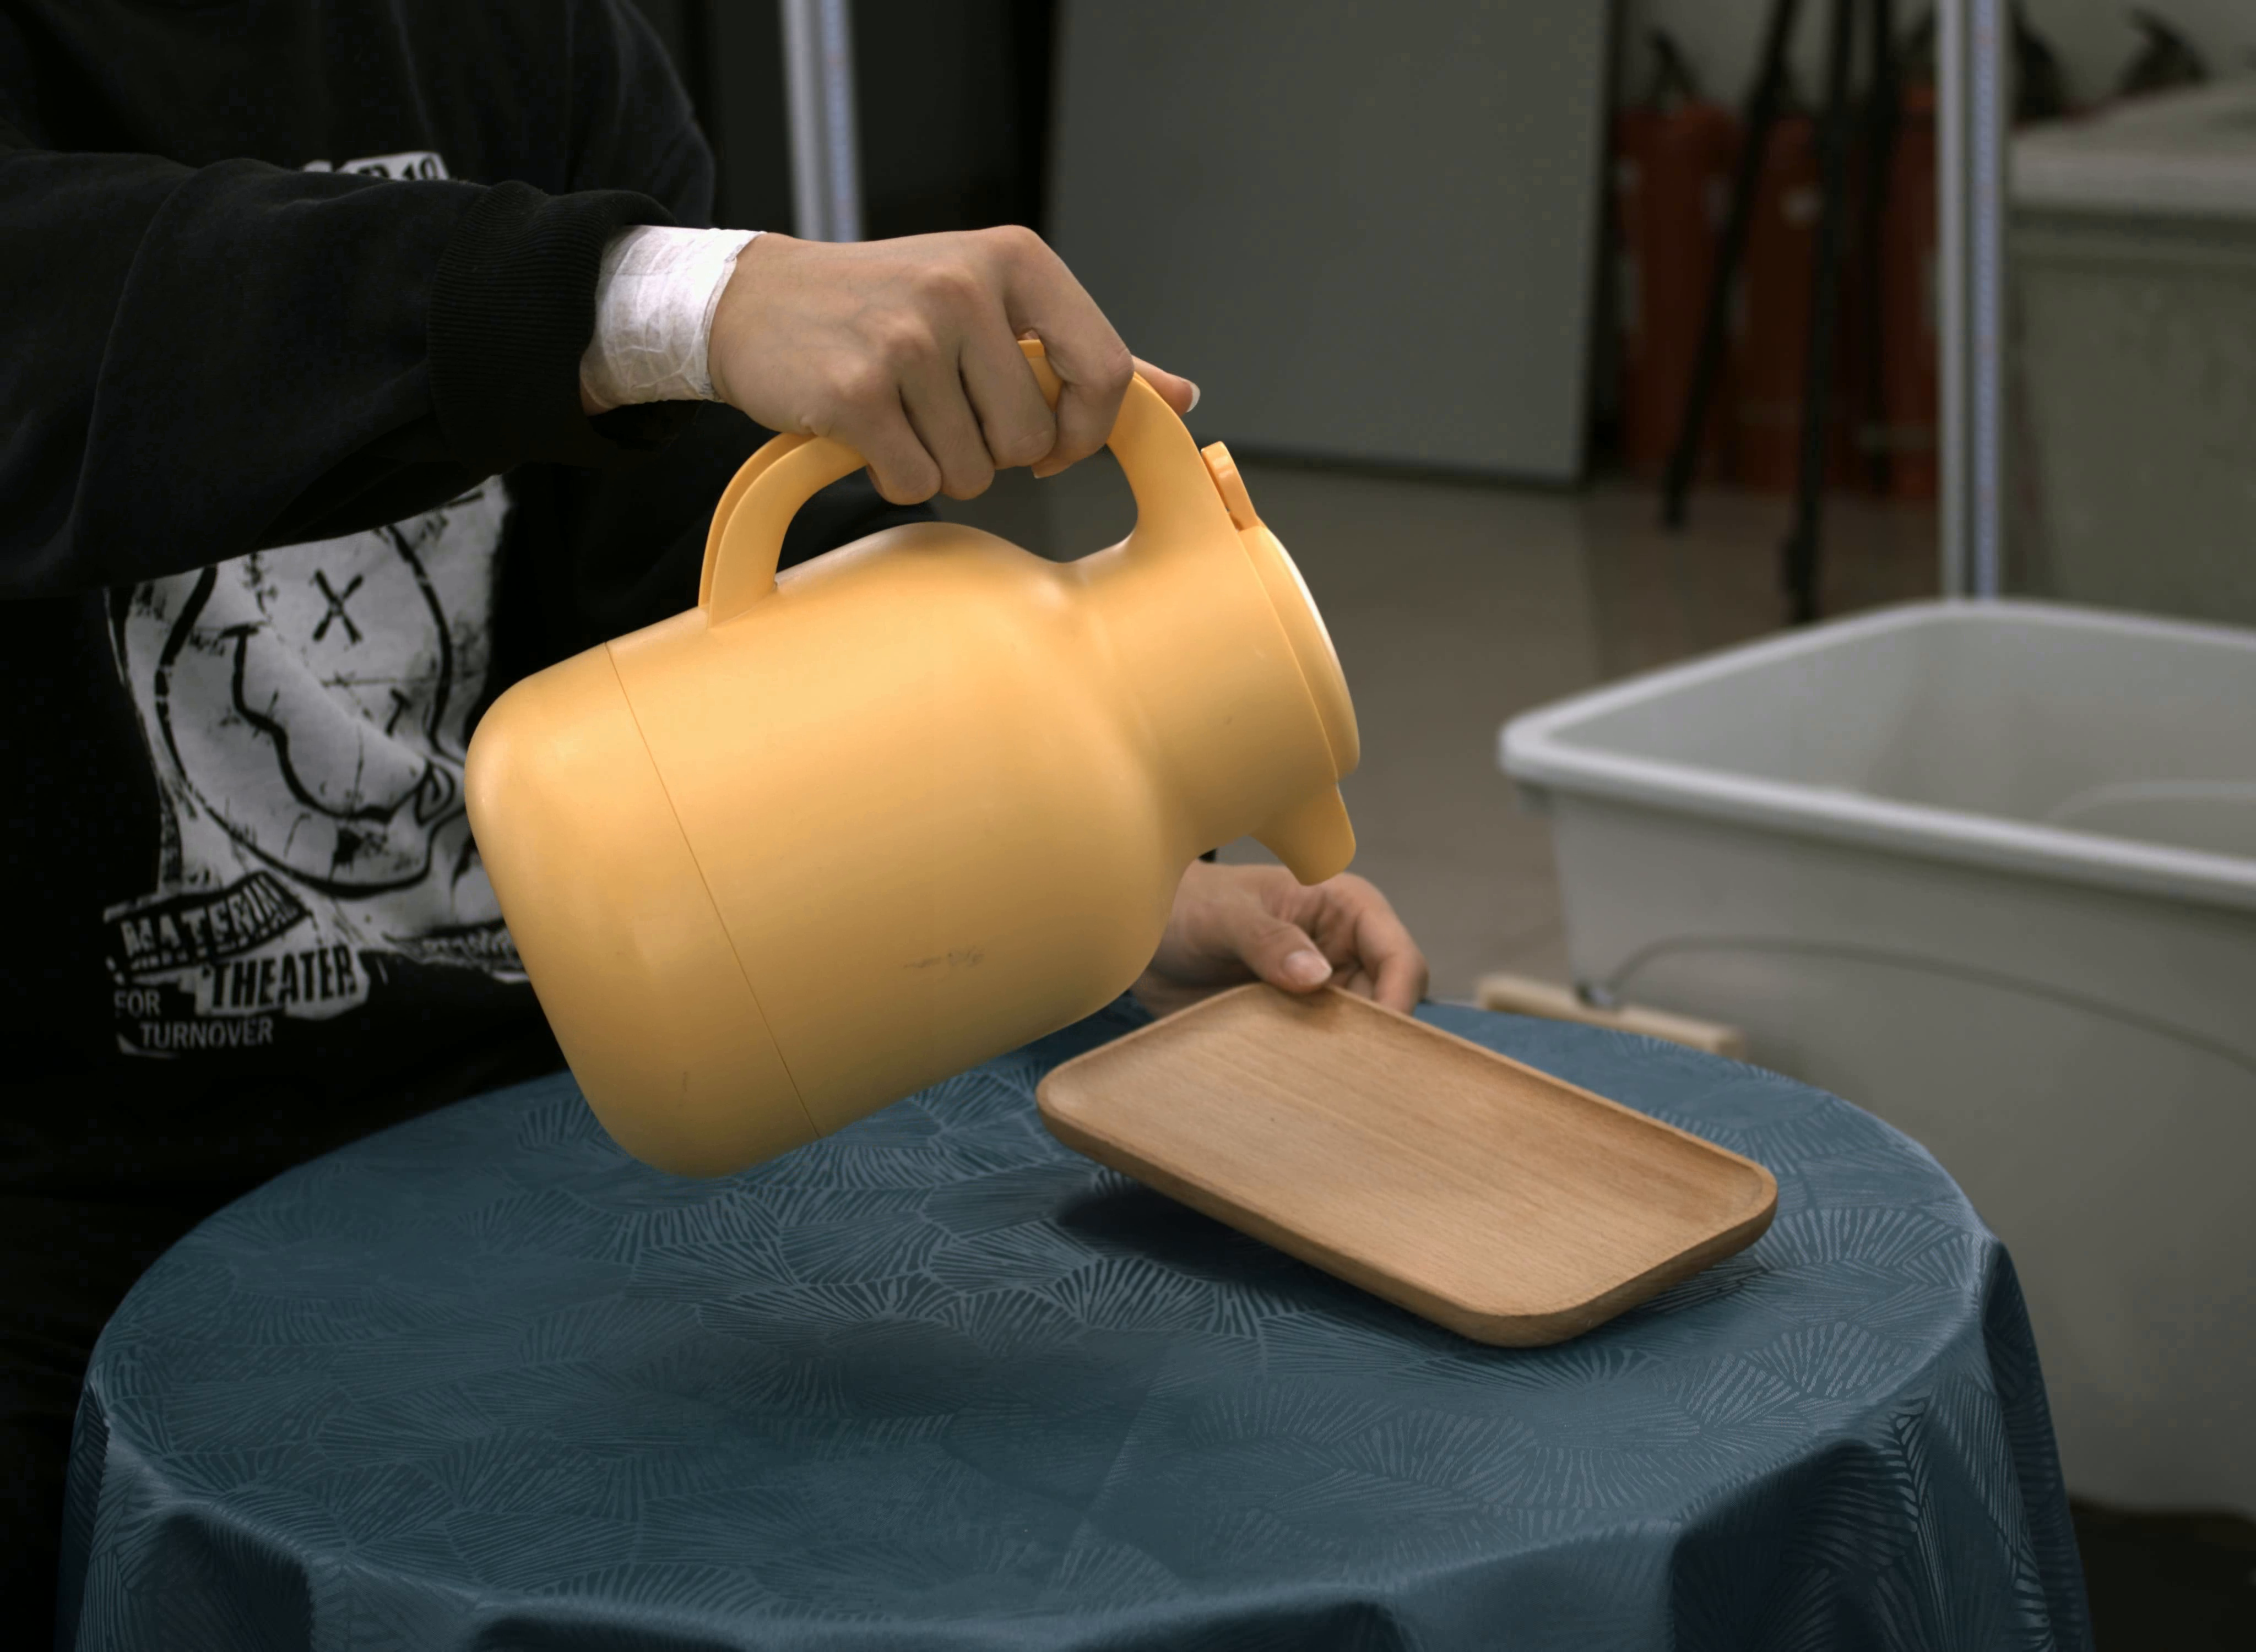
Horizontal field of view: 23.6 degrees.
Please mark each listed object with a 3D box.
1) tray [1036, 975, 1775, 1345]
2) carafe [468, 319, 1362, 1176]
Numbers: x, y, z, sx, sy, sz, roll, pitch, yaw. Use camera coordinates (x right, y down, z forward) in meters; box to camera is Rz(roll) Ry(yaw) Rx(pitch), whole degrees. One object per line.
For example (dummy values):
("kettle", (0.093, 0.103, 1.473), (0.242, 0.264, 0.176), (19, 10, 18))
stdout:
("tray", (0.085, 0.103, 1.710), (0.128, 0.023, 0.253), (-19, 25, -33))
("carafe", (-0.066, -0.029, 1.613), (0.257, 0.203, 0.164), (-24, 15, -5))
